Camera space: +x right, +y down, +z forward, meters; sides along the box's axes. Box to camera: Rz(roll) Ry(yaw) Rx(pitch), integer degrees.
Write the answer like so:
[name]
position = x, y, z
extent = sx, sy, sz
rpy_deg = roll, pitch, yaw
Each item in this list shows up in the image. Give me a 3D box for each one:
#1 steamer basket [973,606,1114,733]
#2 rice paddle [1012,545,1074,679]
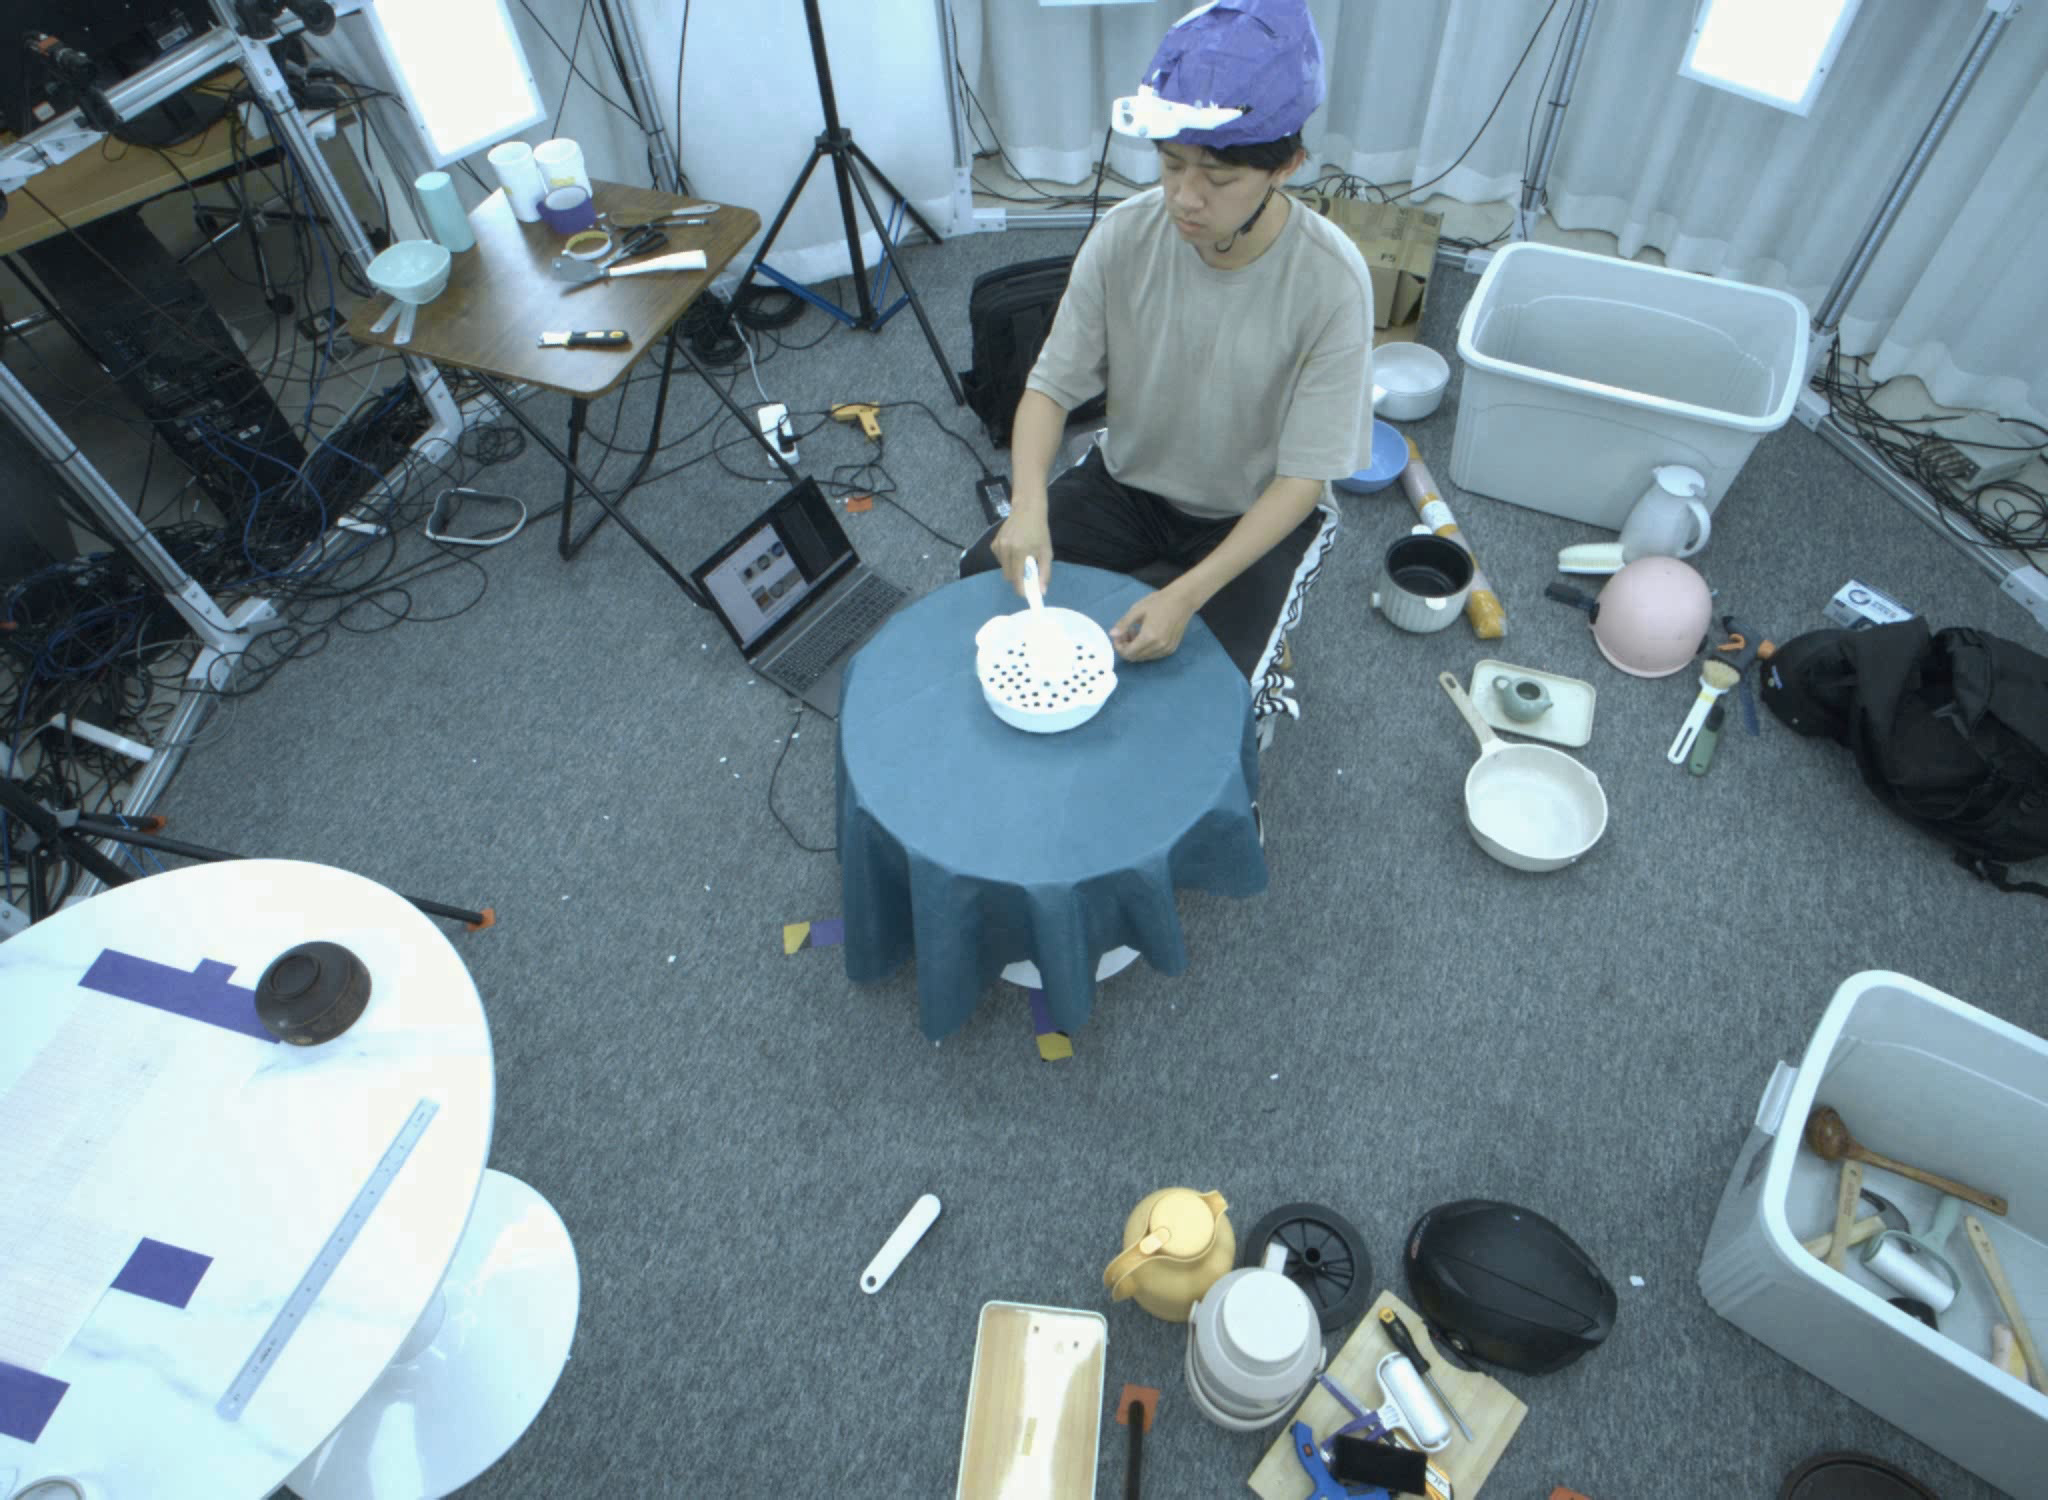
[steamer basket]
position = 0.028, -0.118, 1.828
extent = 0.227, 0.070, 0.203
rpy_deg = 32, 63, 20
[rice paddle]
position = 0.023, -0.202, 1.811
extent = 0.069, 0.029, 0.204
rpy_deg = -16, 84, 2
